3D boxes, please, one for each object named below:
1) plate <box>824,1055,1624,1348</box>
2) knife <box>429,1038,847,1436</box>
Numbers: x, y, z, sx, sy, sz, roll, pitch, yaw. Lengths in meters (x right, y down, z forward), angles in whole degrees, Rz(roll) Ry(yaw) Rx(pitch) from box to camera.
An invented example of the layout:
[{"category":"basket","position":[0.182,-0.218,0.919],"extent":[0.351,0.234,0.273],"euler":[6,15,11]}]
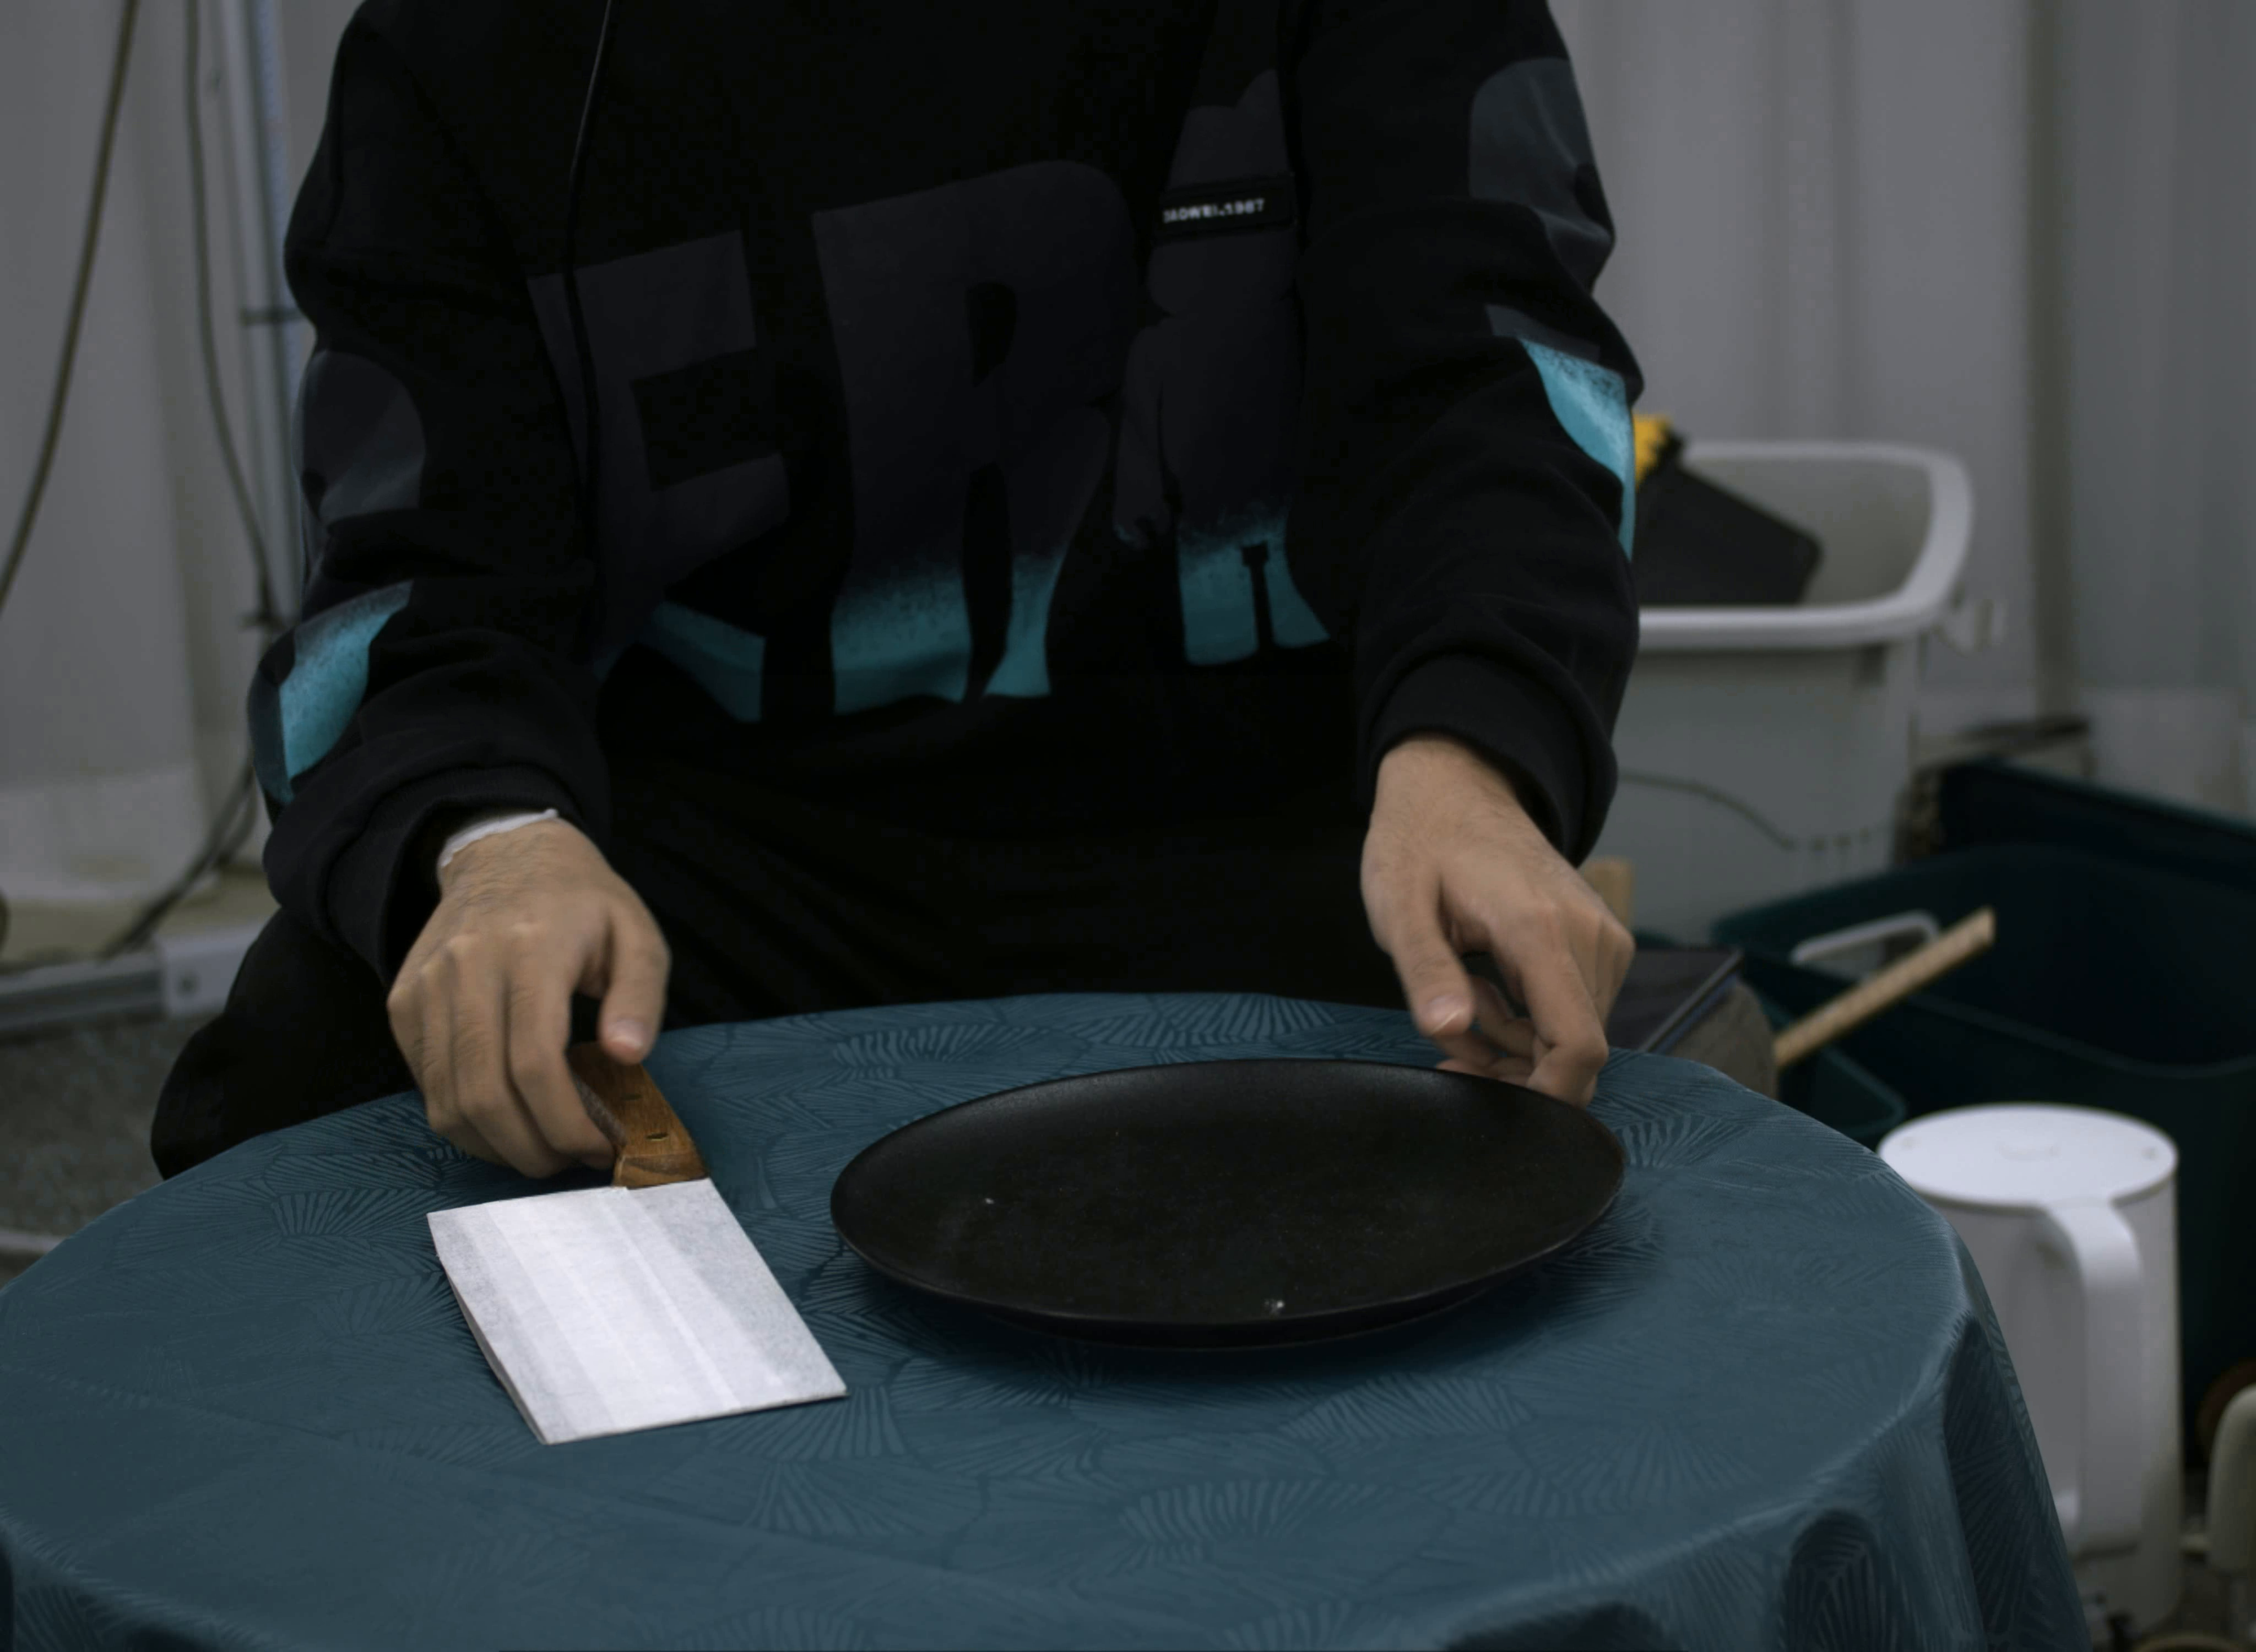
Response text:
[{"category":"plate","position":[0.029,0.116,1.657],"extent":[0.243,0.023,0.246],"euler":[-3,15,1]},{"category":"knife","position":[-0.164,0.125,1.680],"extent":[0.092,0.021,0.308],"euler":[-9,18,-15]}]
